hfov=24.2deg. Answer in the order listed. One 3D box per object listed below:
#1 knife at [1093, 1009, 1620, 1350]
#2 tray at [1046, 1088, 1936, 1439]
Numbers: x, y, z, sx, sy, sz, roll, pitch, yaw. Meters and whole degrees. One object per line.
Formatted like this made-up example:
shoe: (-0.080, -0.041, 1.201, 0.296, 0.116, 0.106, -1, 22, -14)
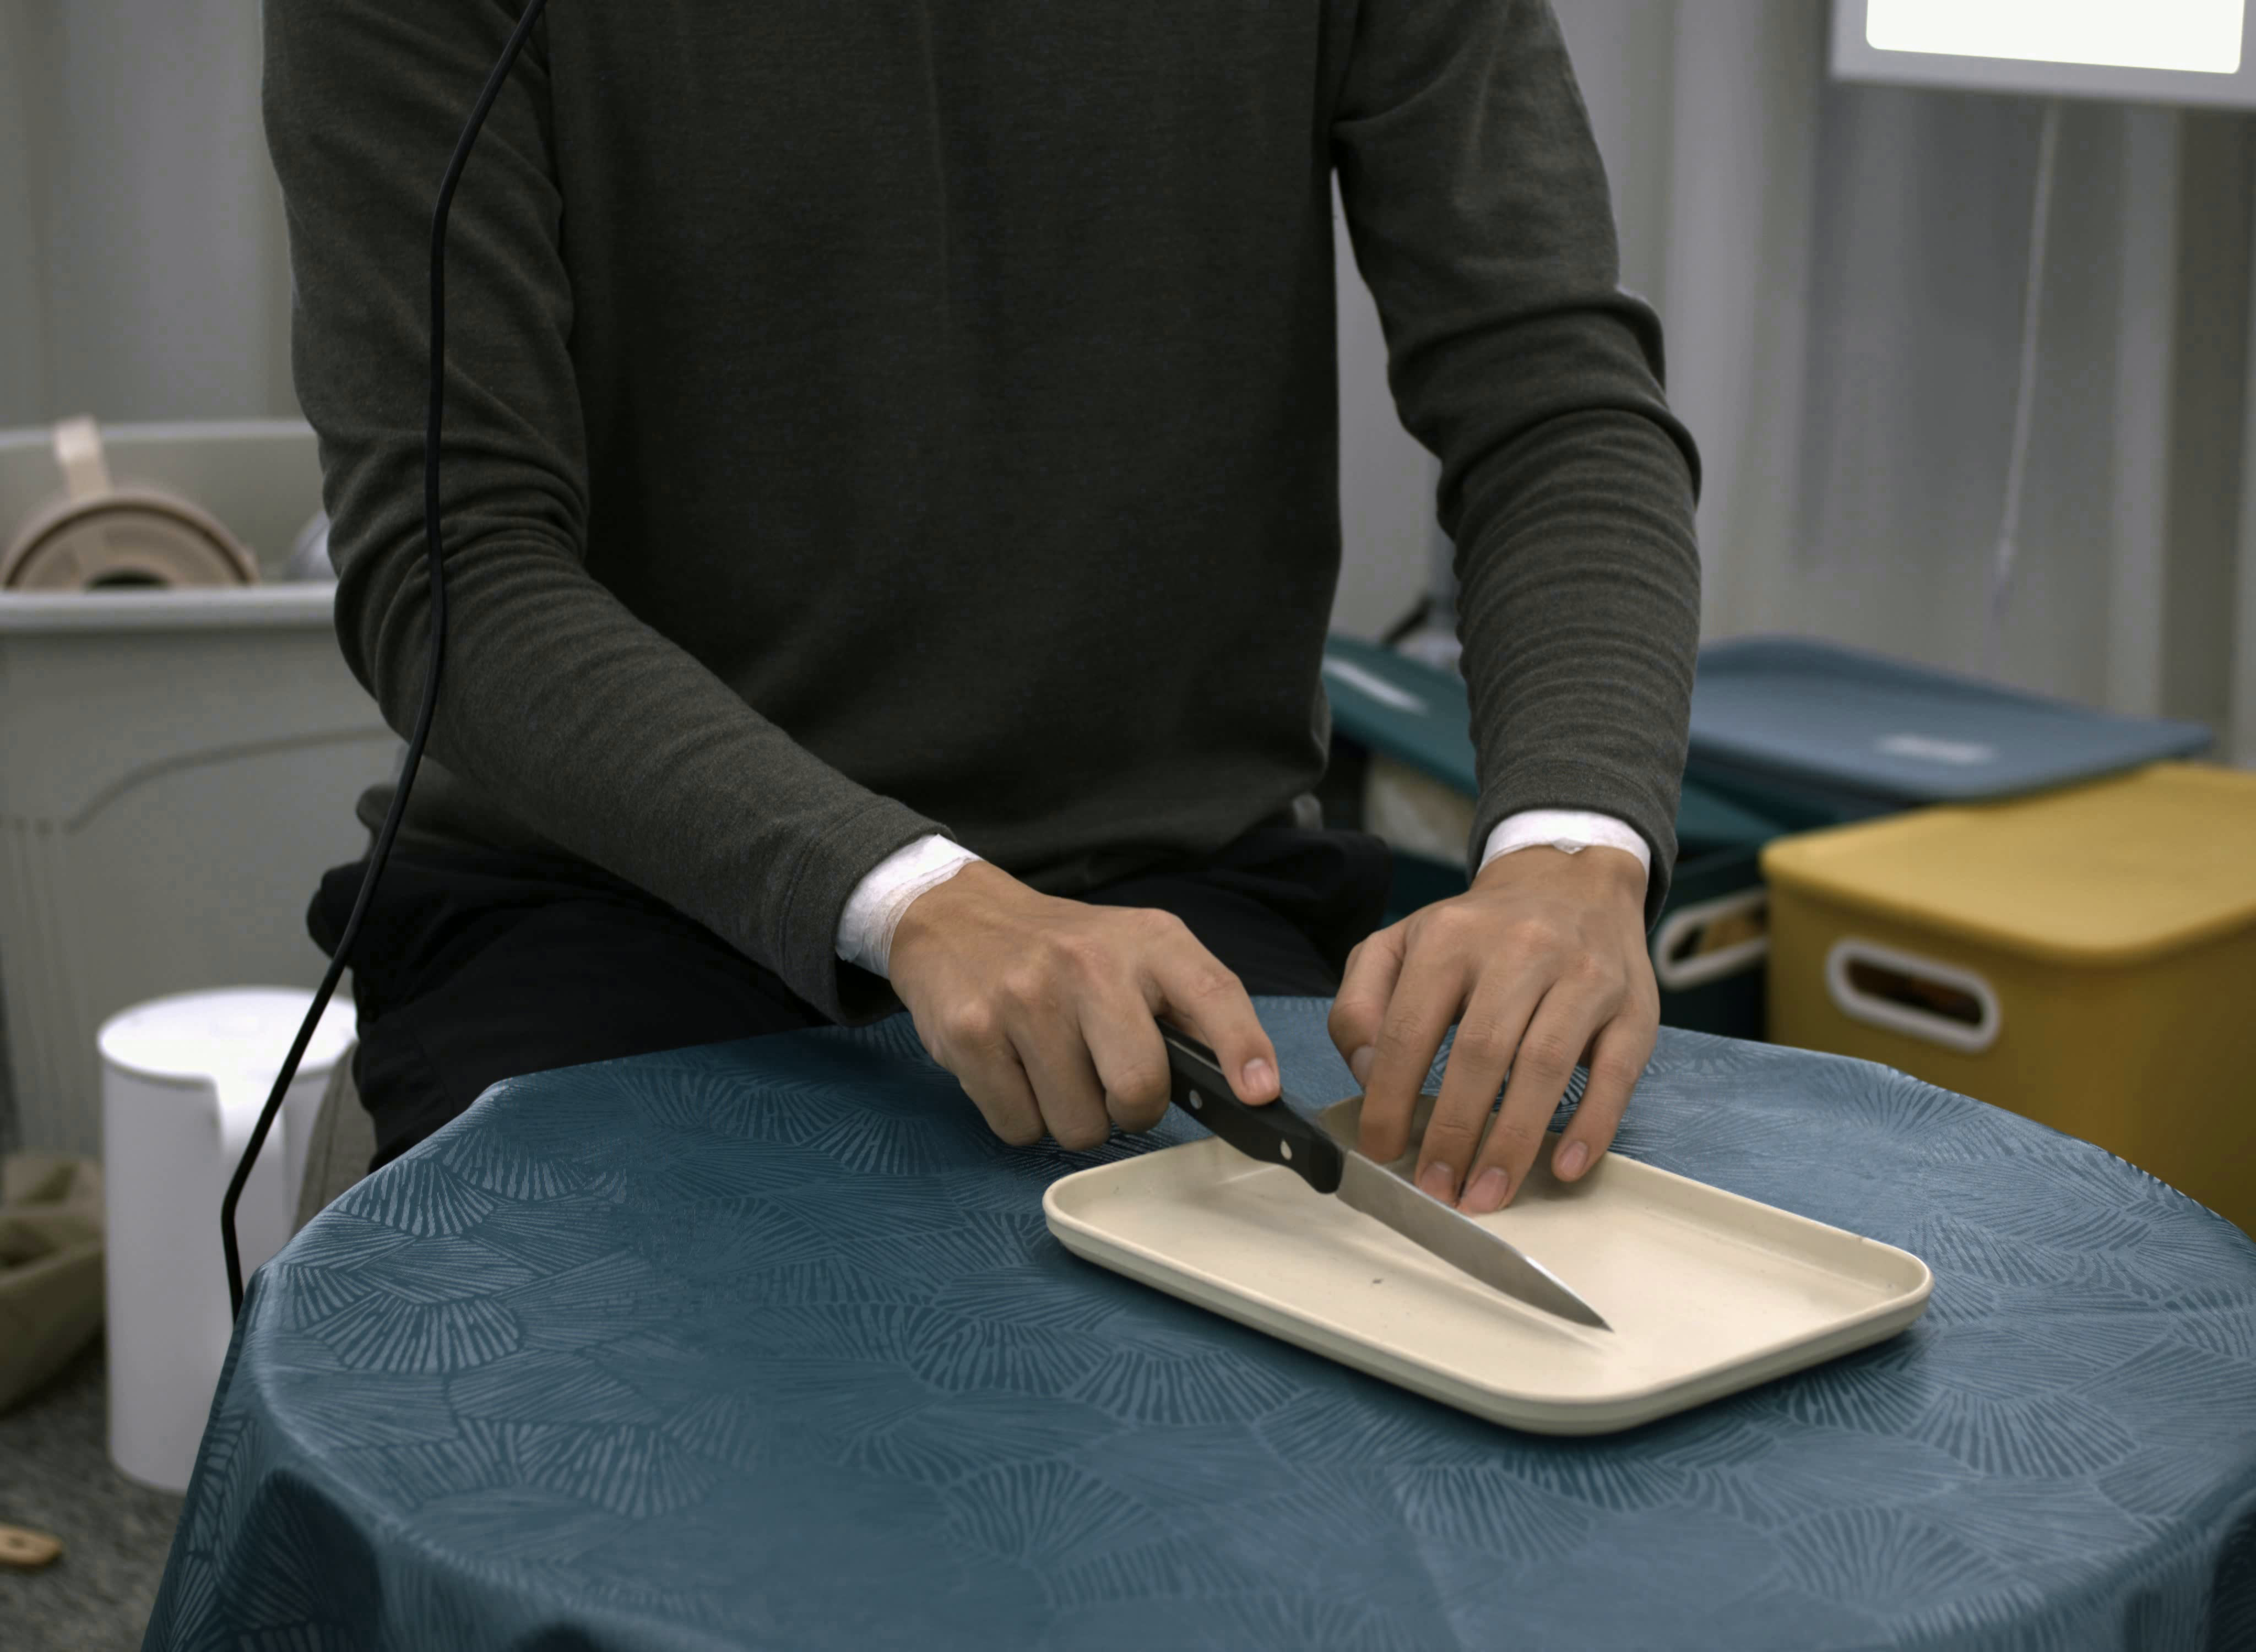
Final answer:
knife: (0.065, 0.103, 1.567, 0.016, 0.025, 0.235, -28, 37, -29)
tray: (0.104, 0.126, 1.545, 0.172, 0.017, 0.236, -13, 21, -39)
